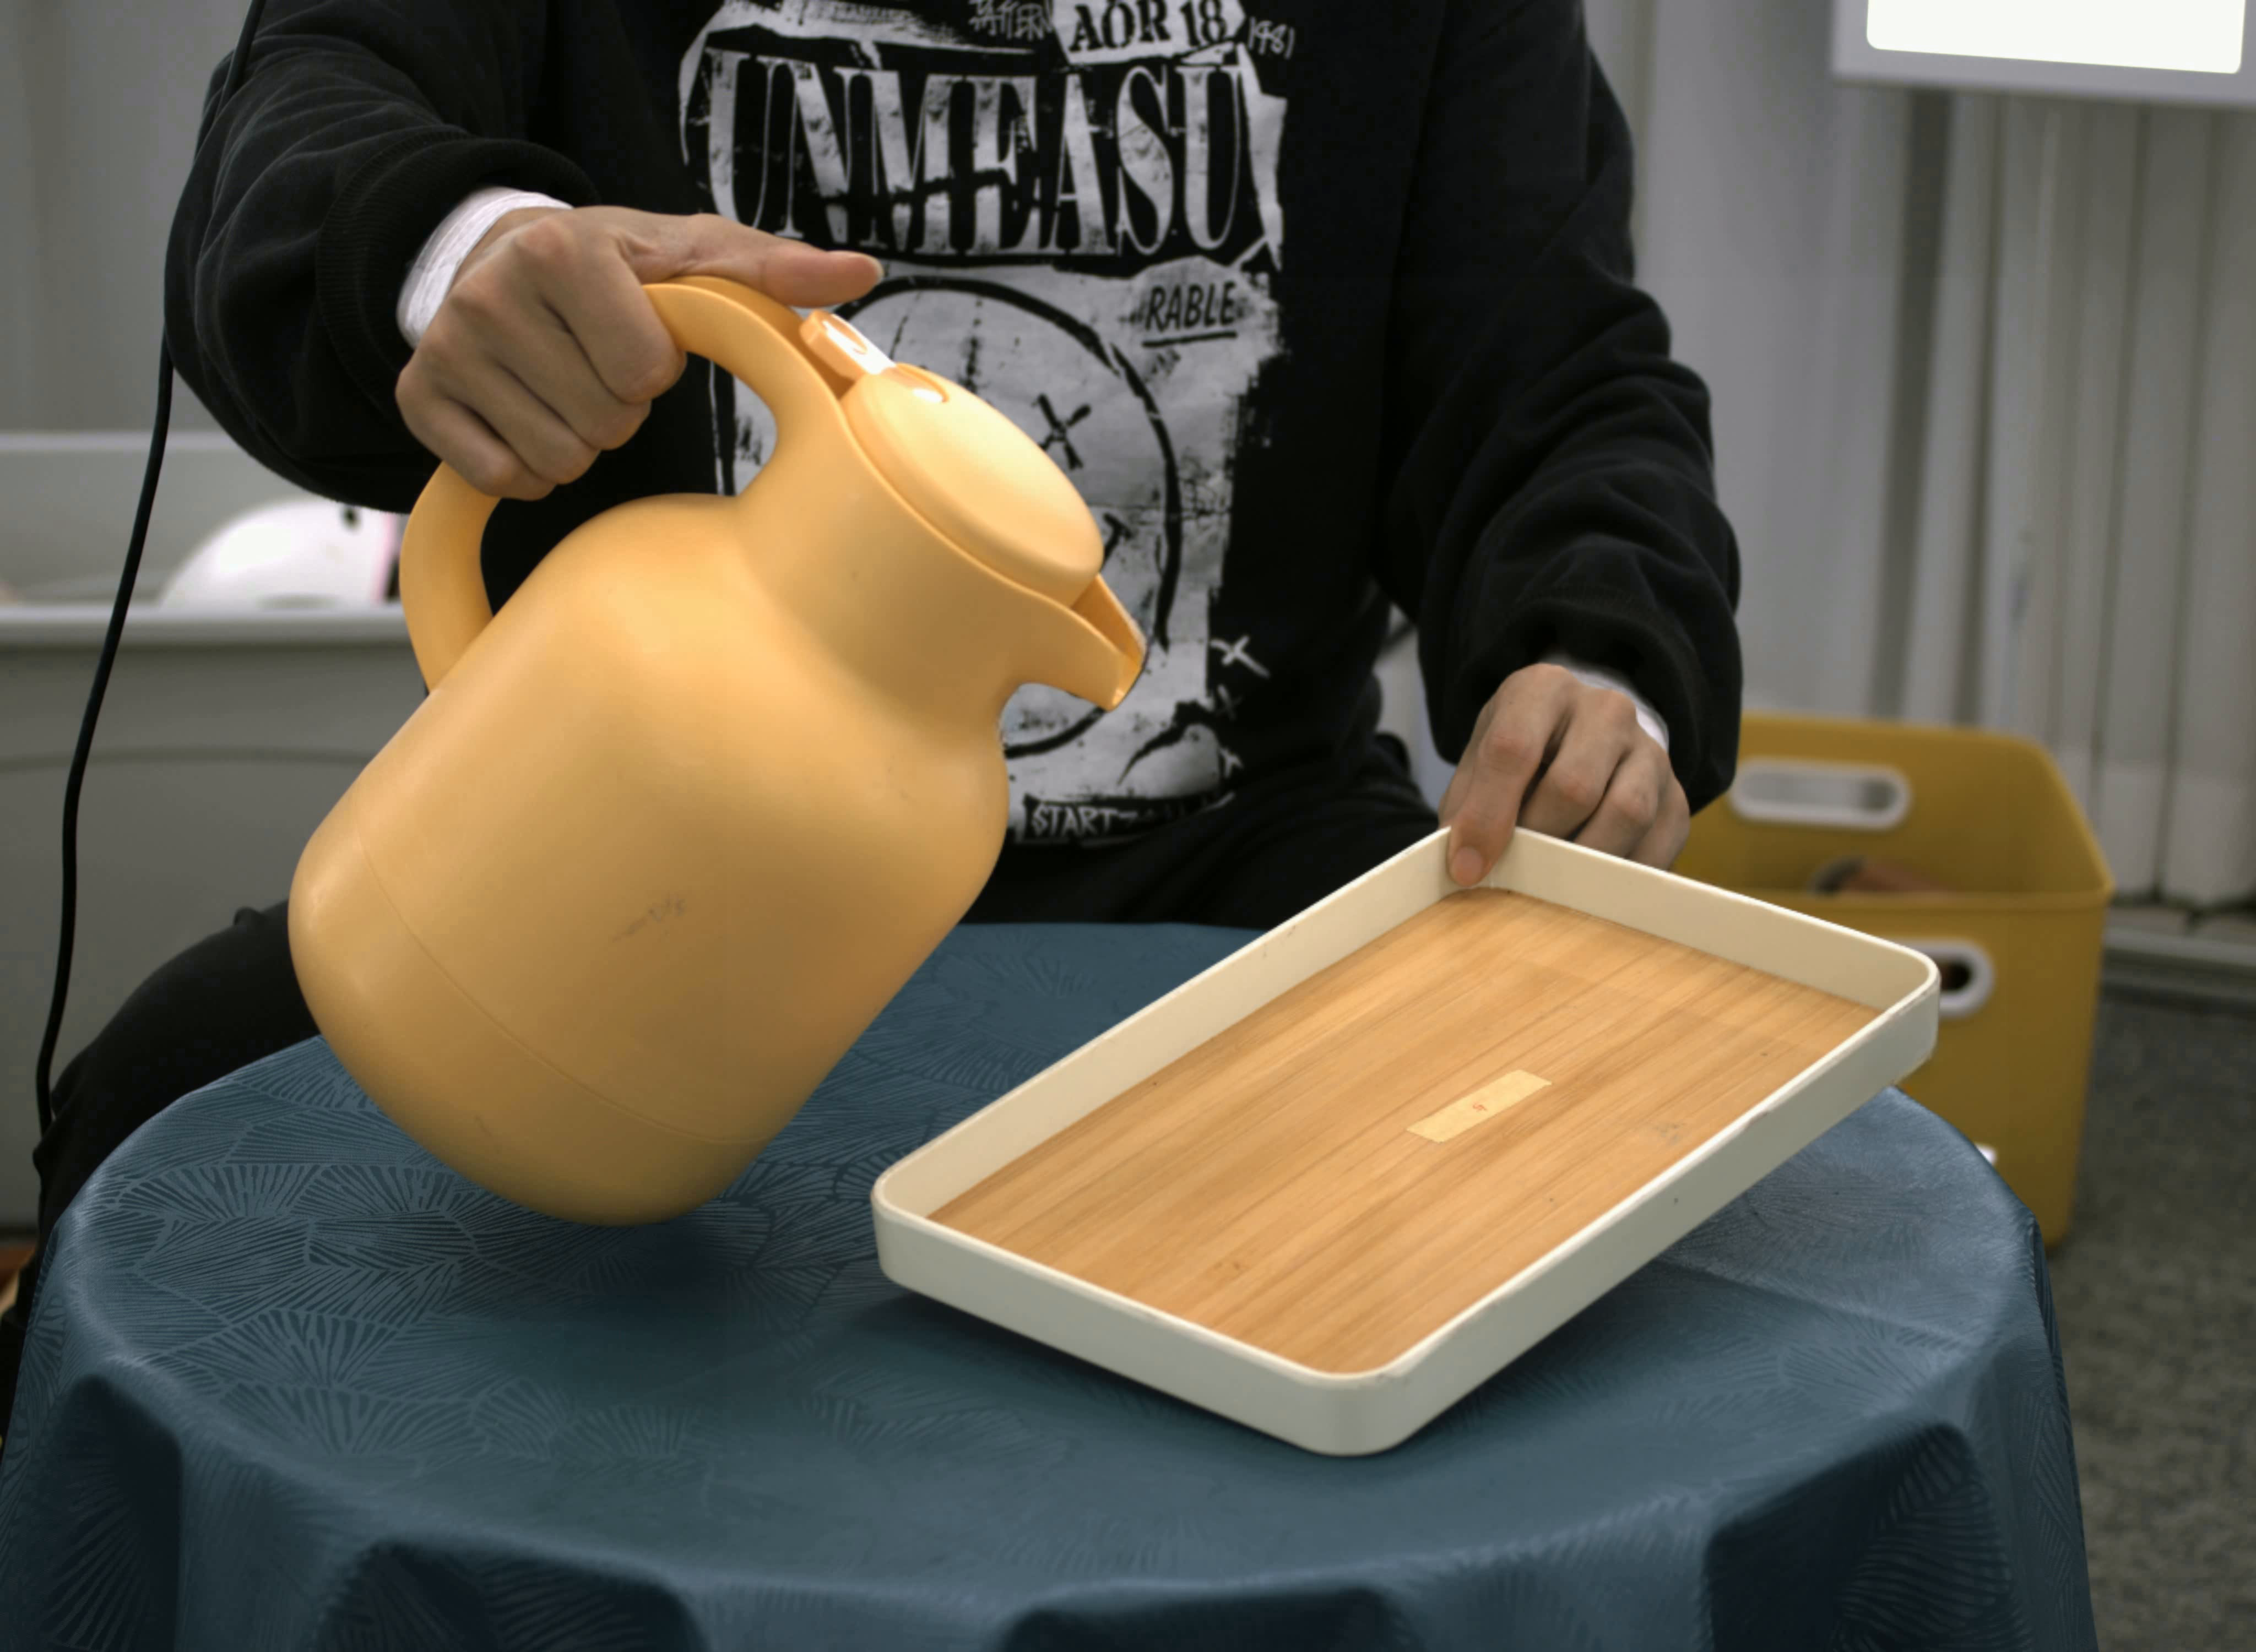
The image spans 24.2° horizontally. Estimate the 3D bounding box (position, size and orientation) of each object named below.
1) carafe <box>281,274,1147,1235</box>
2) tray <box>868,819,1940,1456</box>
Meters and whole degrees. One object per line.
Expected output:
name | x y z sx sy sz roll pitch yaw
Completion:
carafe | -0.131 -0.029 1.527 0.202 0.260 0.164 44 18 6
tray | 0.086 0.084 1.558 0.189 0.028 0.301 19 34 36
